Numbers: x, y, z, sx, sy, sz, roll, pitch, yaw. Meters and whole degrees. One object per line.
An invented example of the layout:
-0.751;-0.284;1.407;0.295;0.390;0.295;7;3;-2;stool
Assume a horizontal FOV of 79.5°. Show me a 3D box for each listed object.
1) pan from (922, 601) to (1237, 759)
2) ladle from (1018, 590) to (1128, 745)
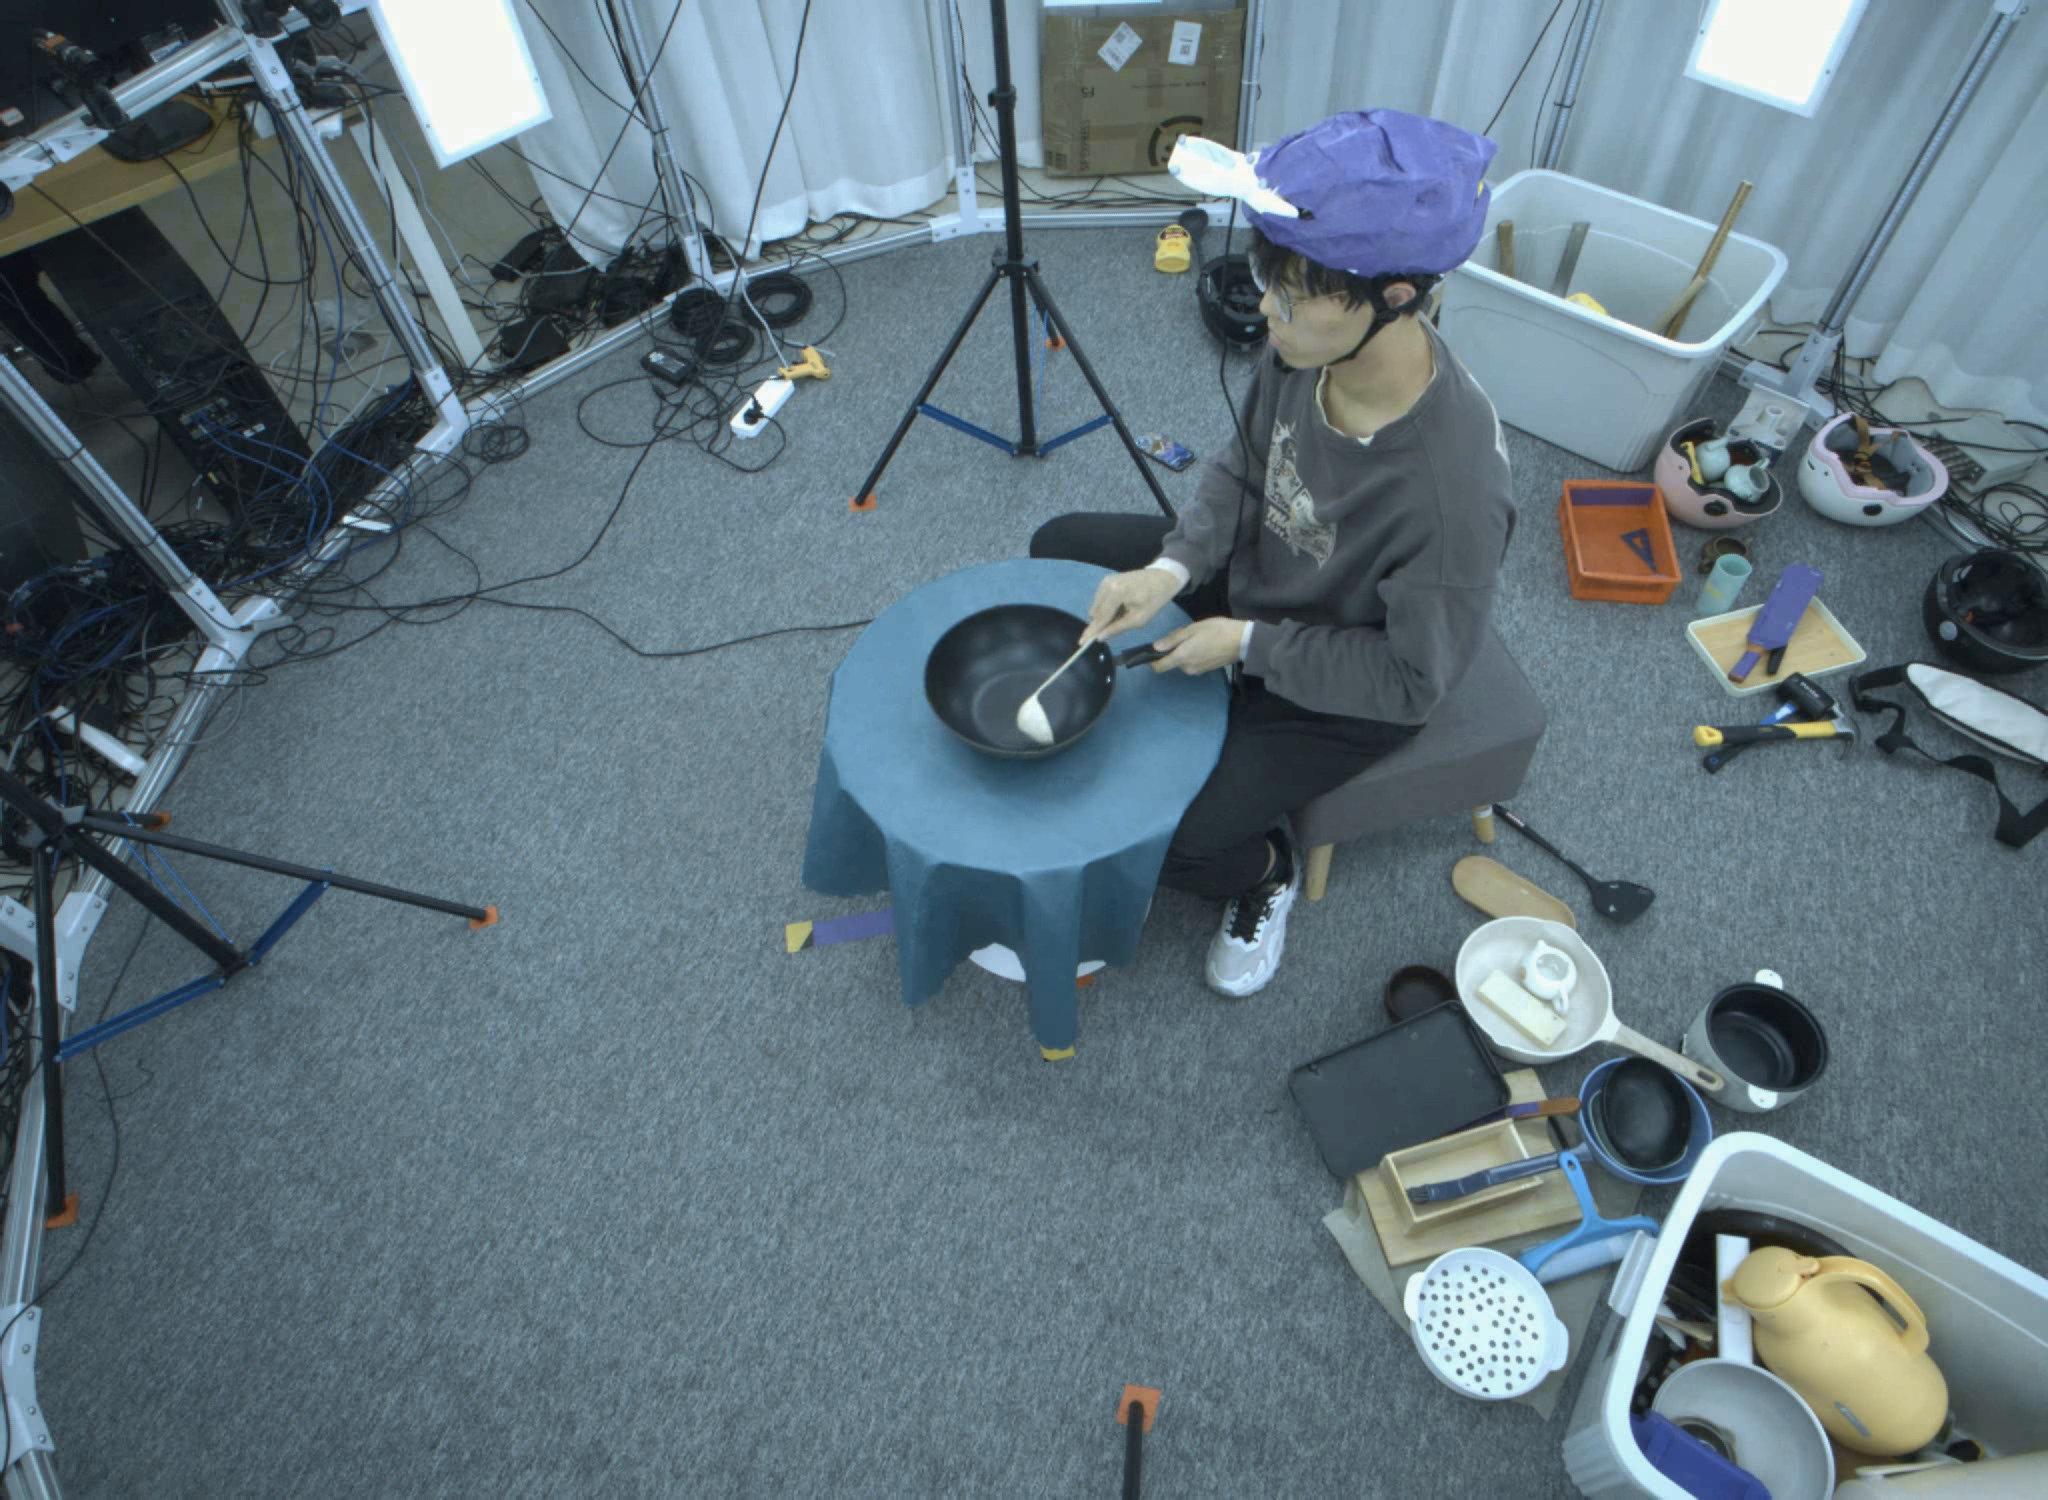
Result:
0.083;-0.105;1.807;0.466;0.088;0.283;-10;54;-8;pan
0.089;-0.110;1.734;0.073;0.072;0.255;42;82;1;ladle
